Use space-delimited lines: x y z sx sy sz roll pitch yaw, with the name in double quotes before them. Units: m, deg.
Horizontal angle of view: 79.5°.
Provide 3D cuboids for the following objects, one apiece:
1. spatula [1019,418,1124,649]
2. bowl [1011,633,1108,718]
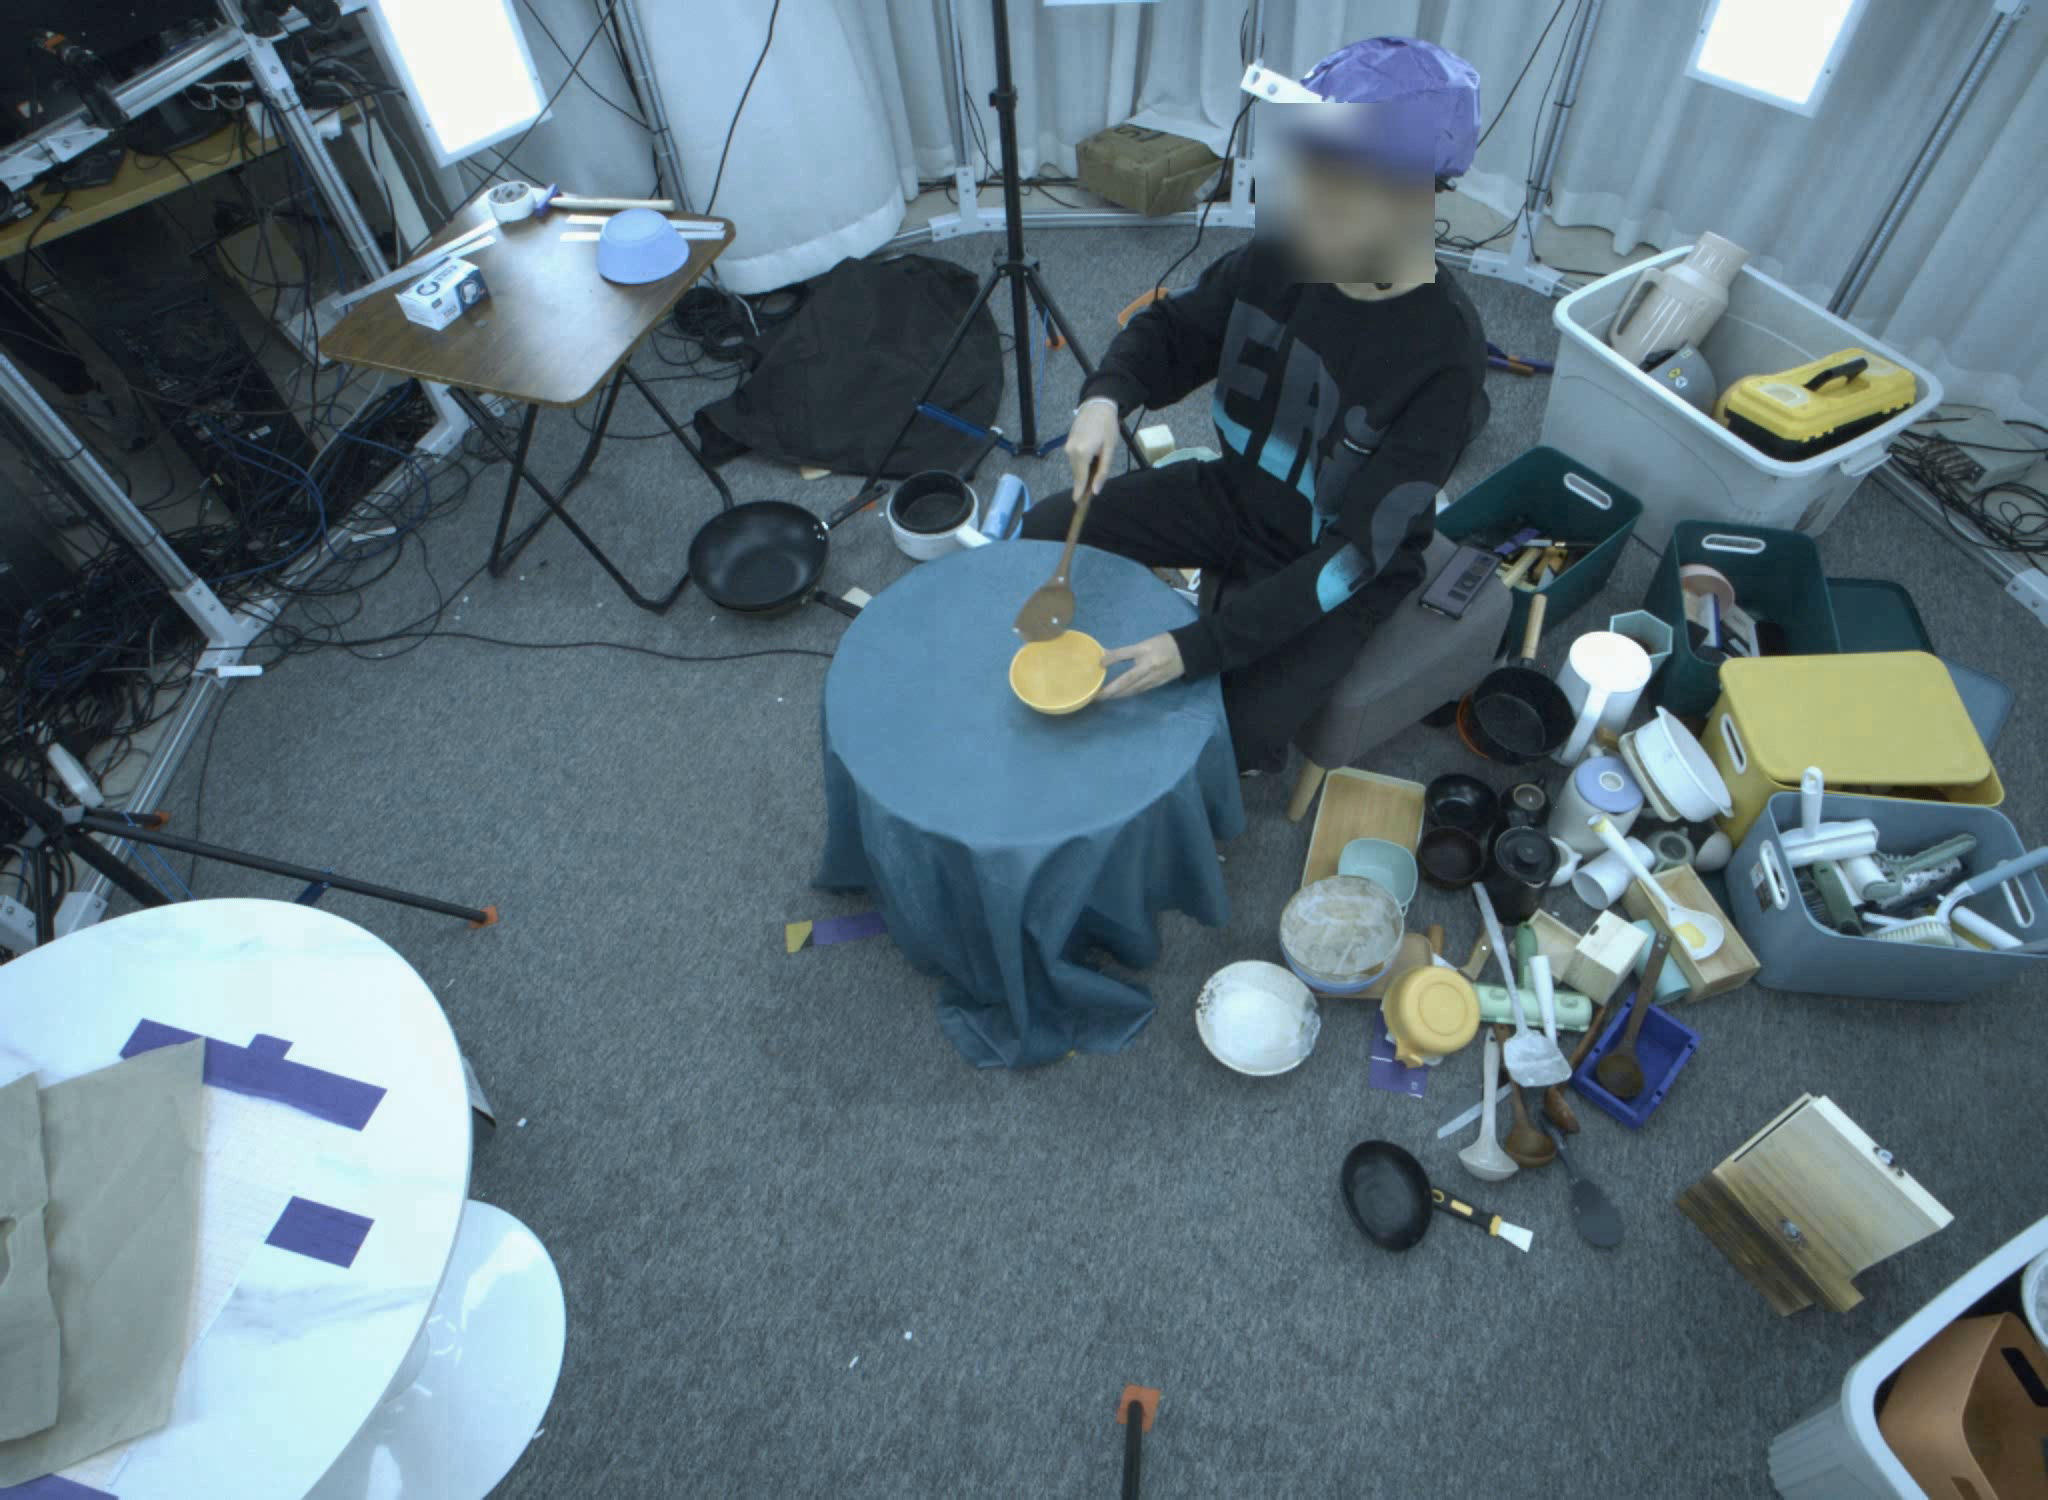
"spatula" 0.082 -0.324 1.790 0.094 0.016 0.385 9 76 36
"bowl" 0.055 -0.100 1.828 0.145 0.061 0.144 -3 58 6
